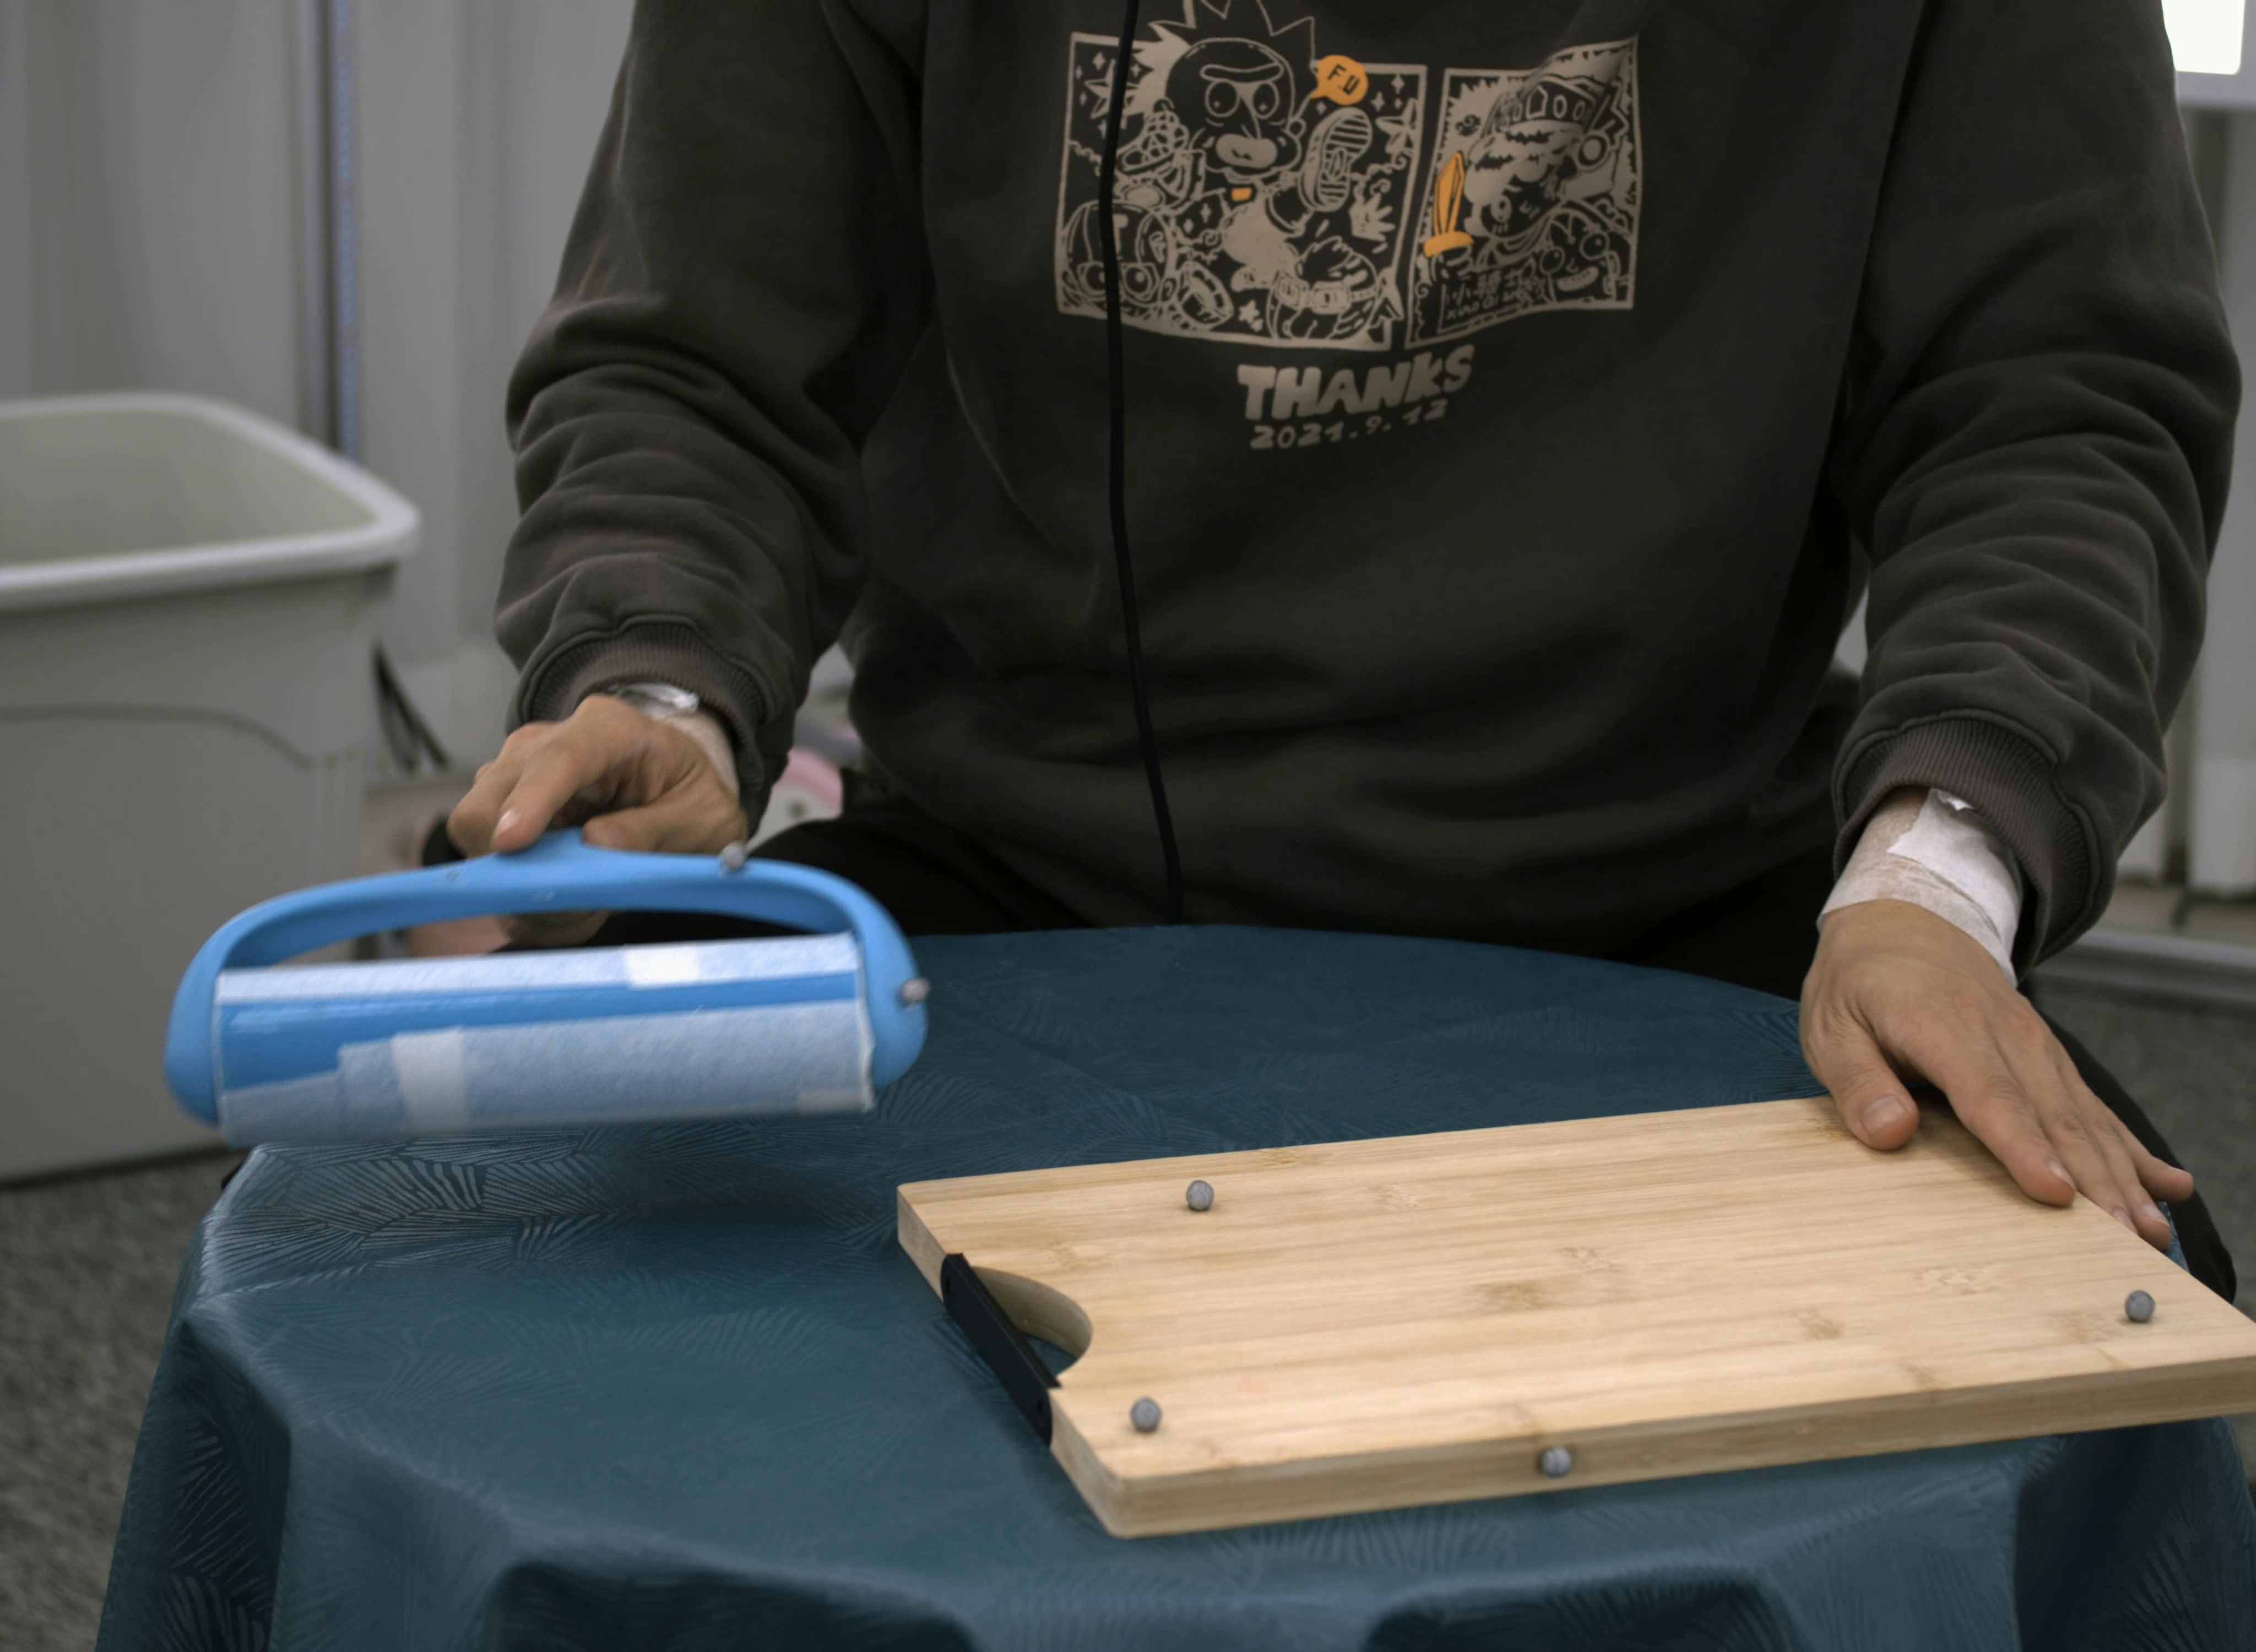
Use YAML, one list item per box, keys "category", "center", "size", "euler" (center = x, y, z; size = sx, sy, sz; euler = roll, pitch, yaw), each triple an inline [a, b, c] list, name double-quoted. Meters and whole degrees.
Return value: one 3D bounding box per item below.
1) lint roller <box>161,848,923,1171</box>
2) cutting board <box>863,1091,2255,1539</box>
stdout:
- category: "lint roller"
  center: [-0.183, 0.041, 1.637]
  size: [0.228, 0.069, 0.178]
  euler: [-6, 29, -5]
- category: "cutting board"
  center: [0.119, 0.136, 1.521]
  size: [0.349, 0.024, 0.248]
  euler: [-4, 16, -17]
